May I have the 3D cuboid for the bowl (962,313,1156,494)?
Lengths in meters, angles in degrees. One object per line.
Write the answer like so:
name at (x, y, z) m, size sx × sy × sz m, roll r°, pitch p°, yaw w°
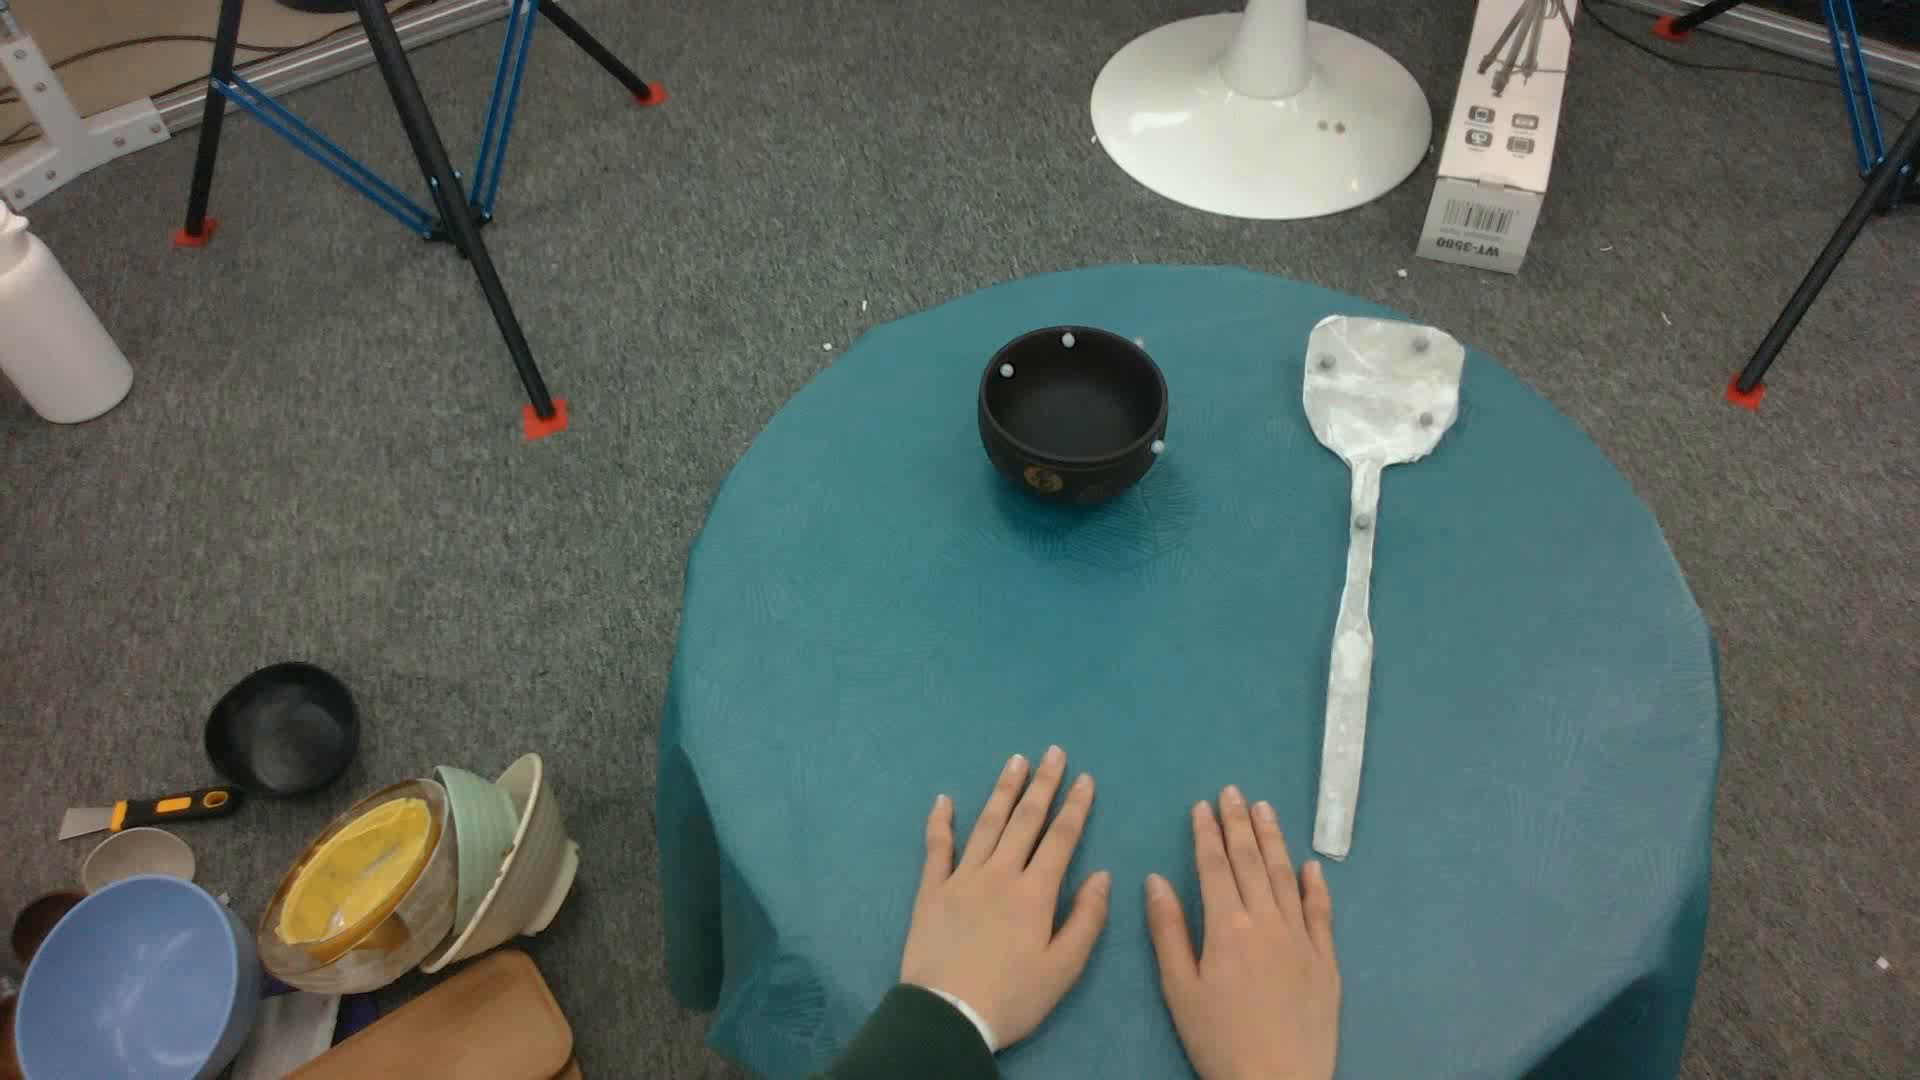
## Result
bowl at (0.060, -0.077, 0.854) m, size 0.118 × 0.069 × 0.118 m, roll -1°, pitch 53°, yaw 2°

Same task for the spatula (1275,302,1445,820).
spatula at (0.226, -0.002, 0.817) m, size 0.098 × 0.044 × 0.367 m, roll 13°, pitch 53°, yaw 7°
